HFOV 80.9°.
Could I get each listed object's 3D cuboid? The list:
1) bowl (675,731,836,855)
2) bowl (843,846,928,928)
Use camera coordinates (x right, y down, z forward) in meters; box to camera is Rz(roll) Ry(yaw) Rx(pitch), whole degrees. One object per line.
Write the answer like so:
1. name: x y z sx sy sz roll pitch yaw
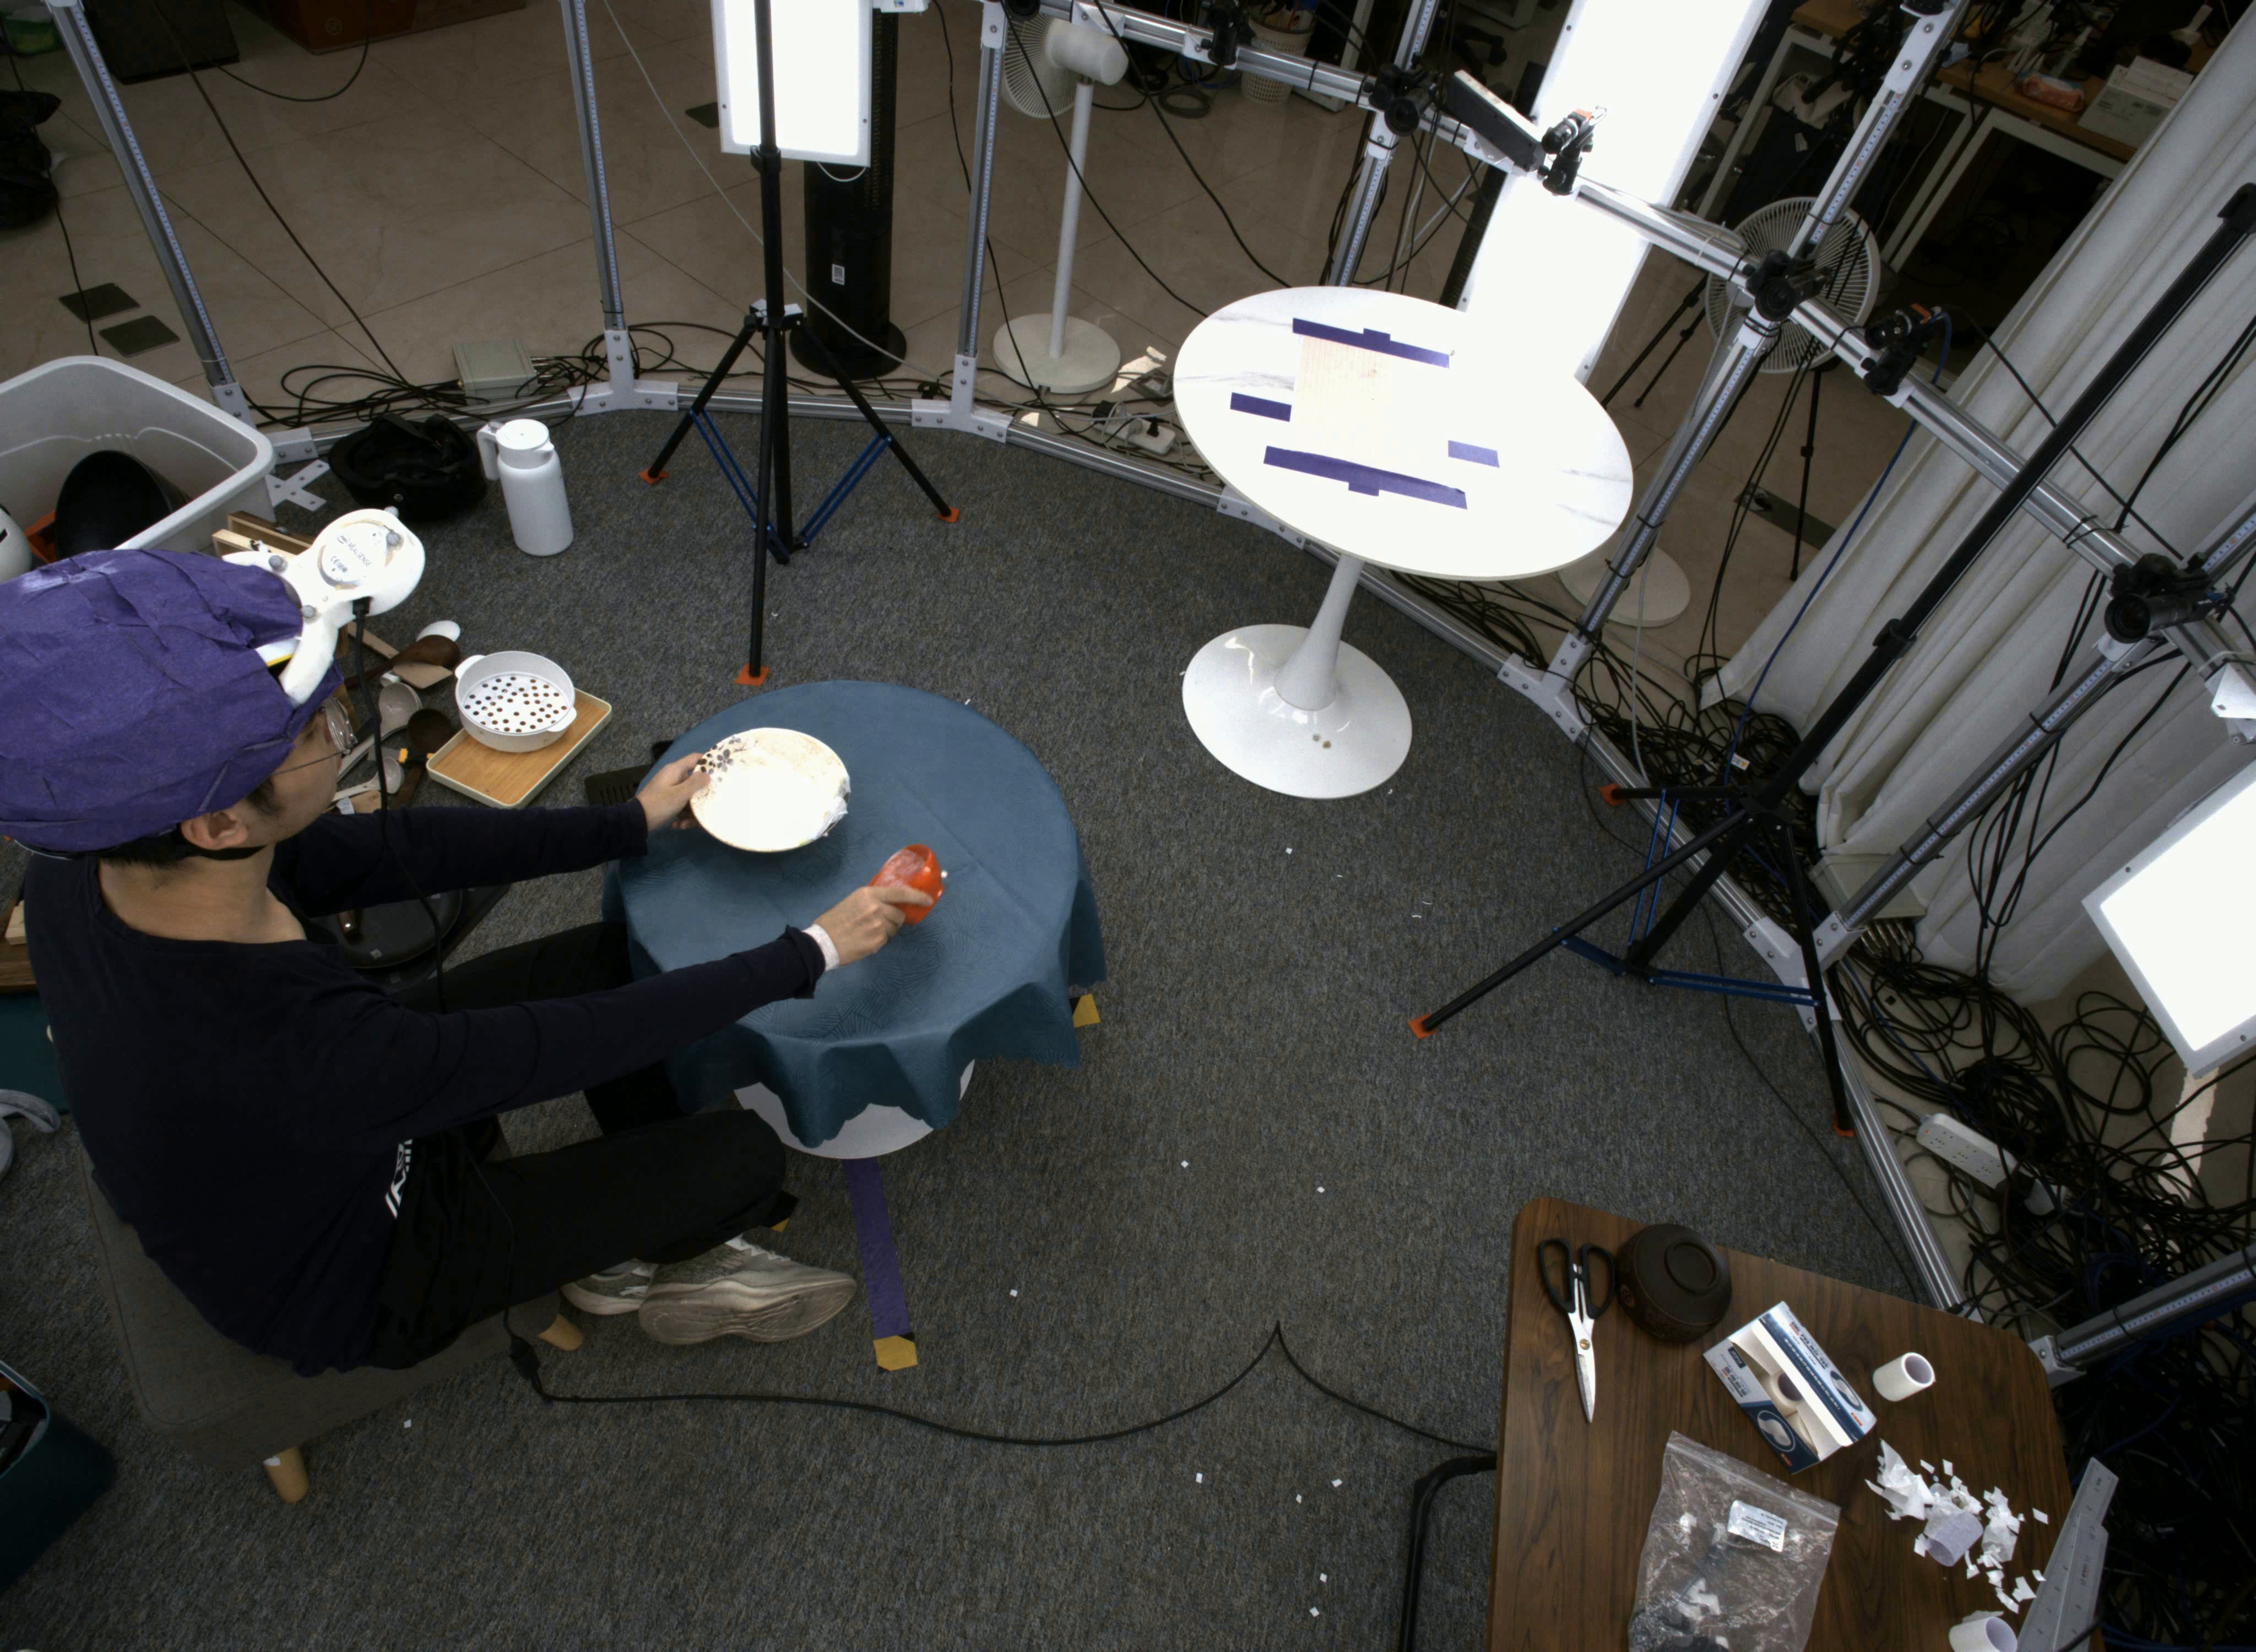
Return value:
1. bowl: -0.483 -0.024 1.689 0.203 0.079 0.200 7 52 -8
2. bowl: -0.294 0.082 1.617 0.117 0.053 0.116 -25 35 21
